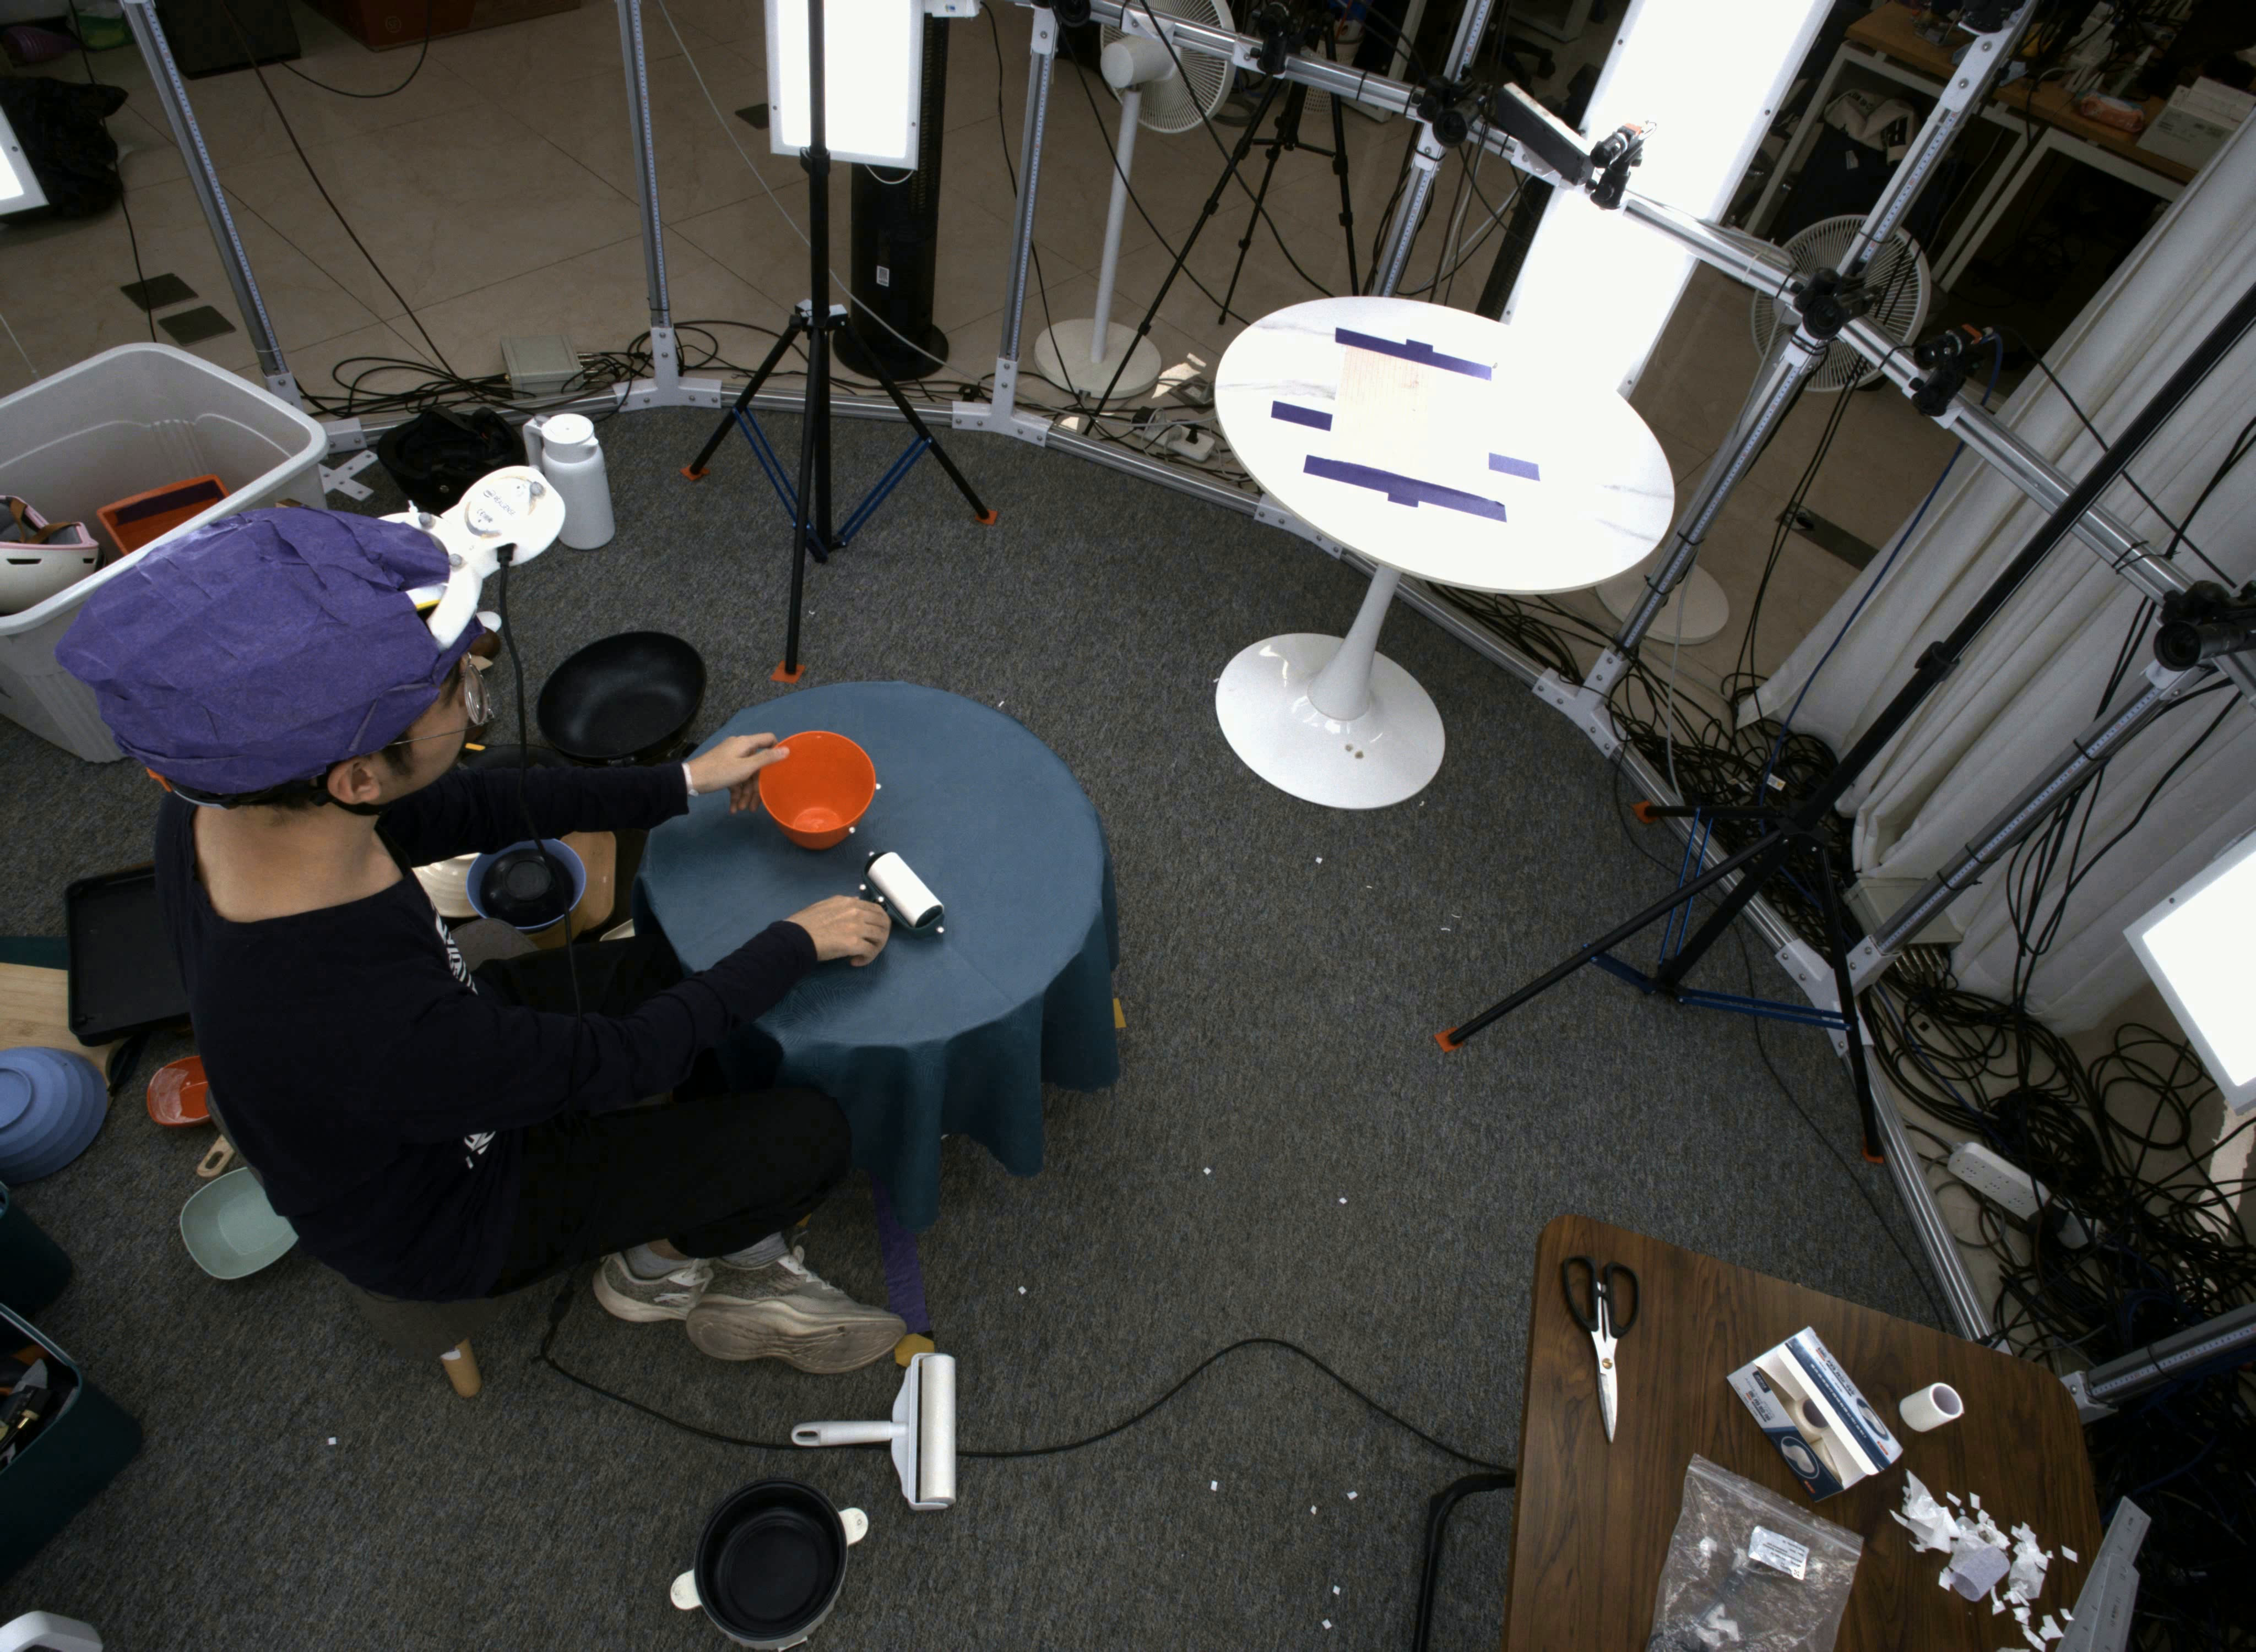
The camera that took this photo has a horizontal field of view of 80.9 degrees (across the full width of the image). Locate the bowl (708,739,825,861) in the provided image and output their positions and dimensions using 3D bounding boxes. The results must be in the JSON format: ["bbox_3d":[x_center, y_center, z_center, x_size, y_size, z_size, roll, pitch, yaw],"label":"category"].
[{"bbox_3d":[-0.466,-0.023,1.682,0.147,0.107,0.145,6,54,-7],"label":"bowl"}]

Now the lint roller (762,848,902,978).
[{"bbox_3d":[-0.386,0.121,1.629,0.131,0.049,0.180,42,59,17],"label":"lint roller"}]
